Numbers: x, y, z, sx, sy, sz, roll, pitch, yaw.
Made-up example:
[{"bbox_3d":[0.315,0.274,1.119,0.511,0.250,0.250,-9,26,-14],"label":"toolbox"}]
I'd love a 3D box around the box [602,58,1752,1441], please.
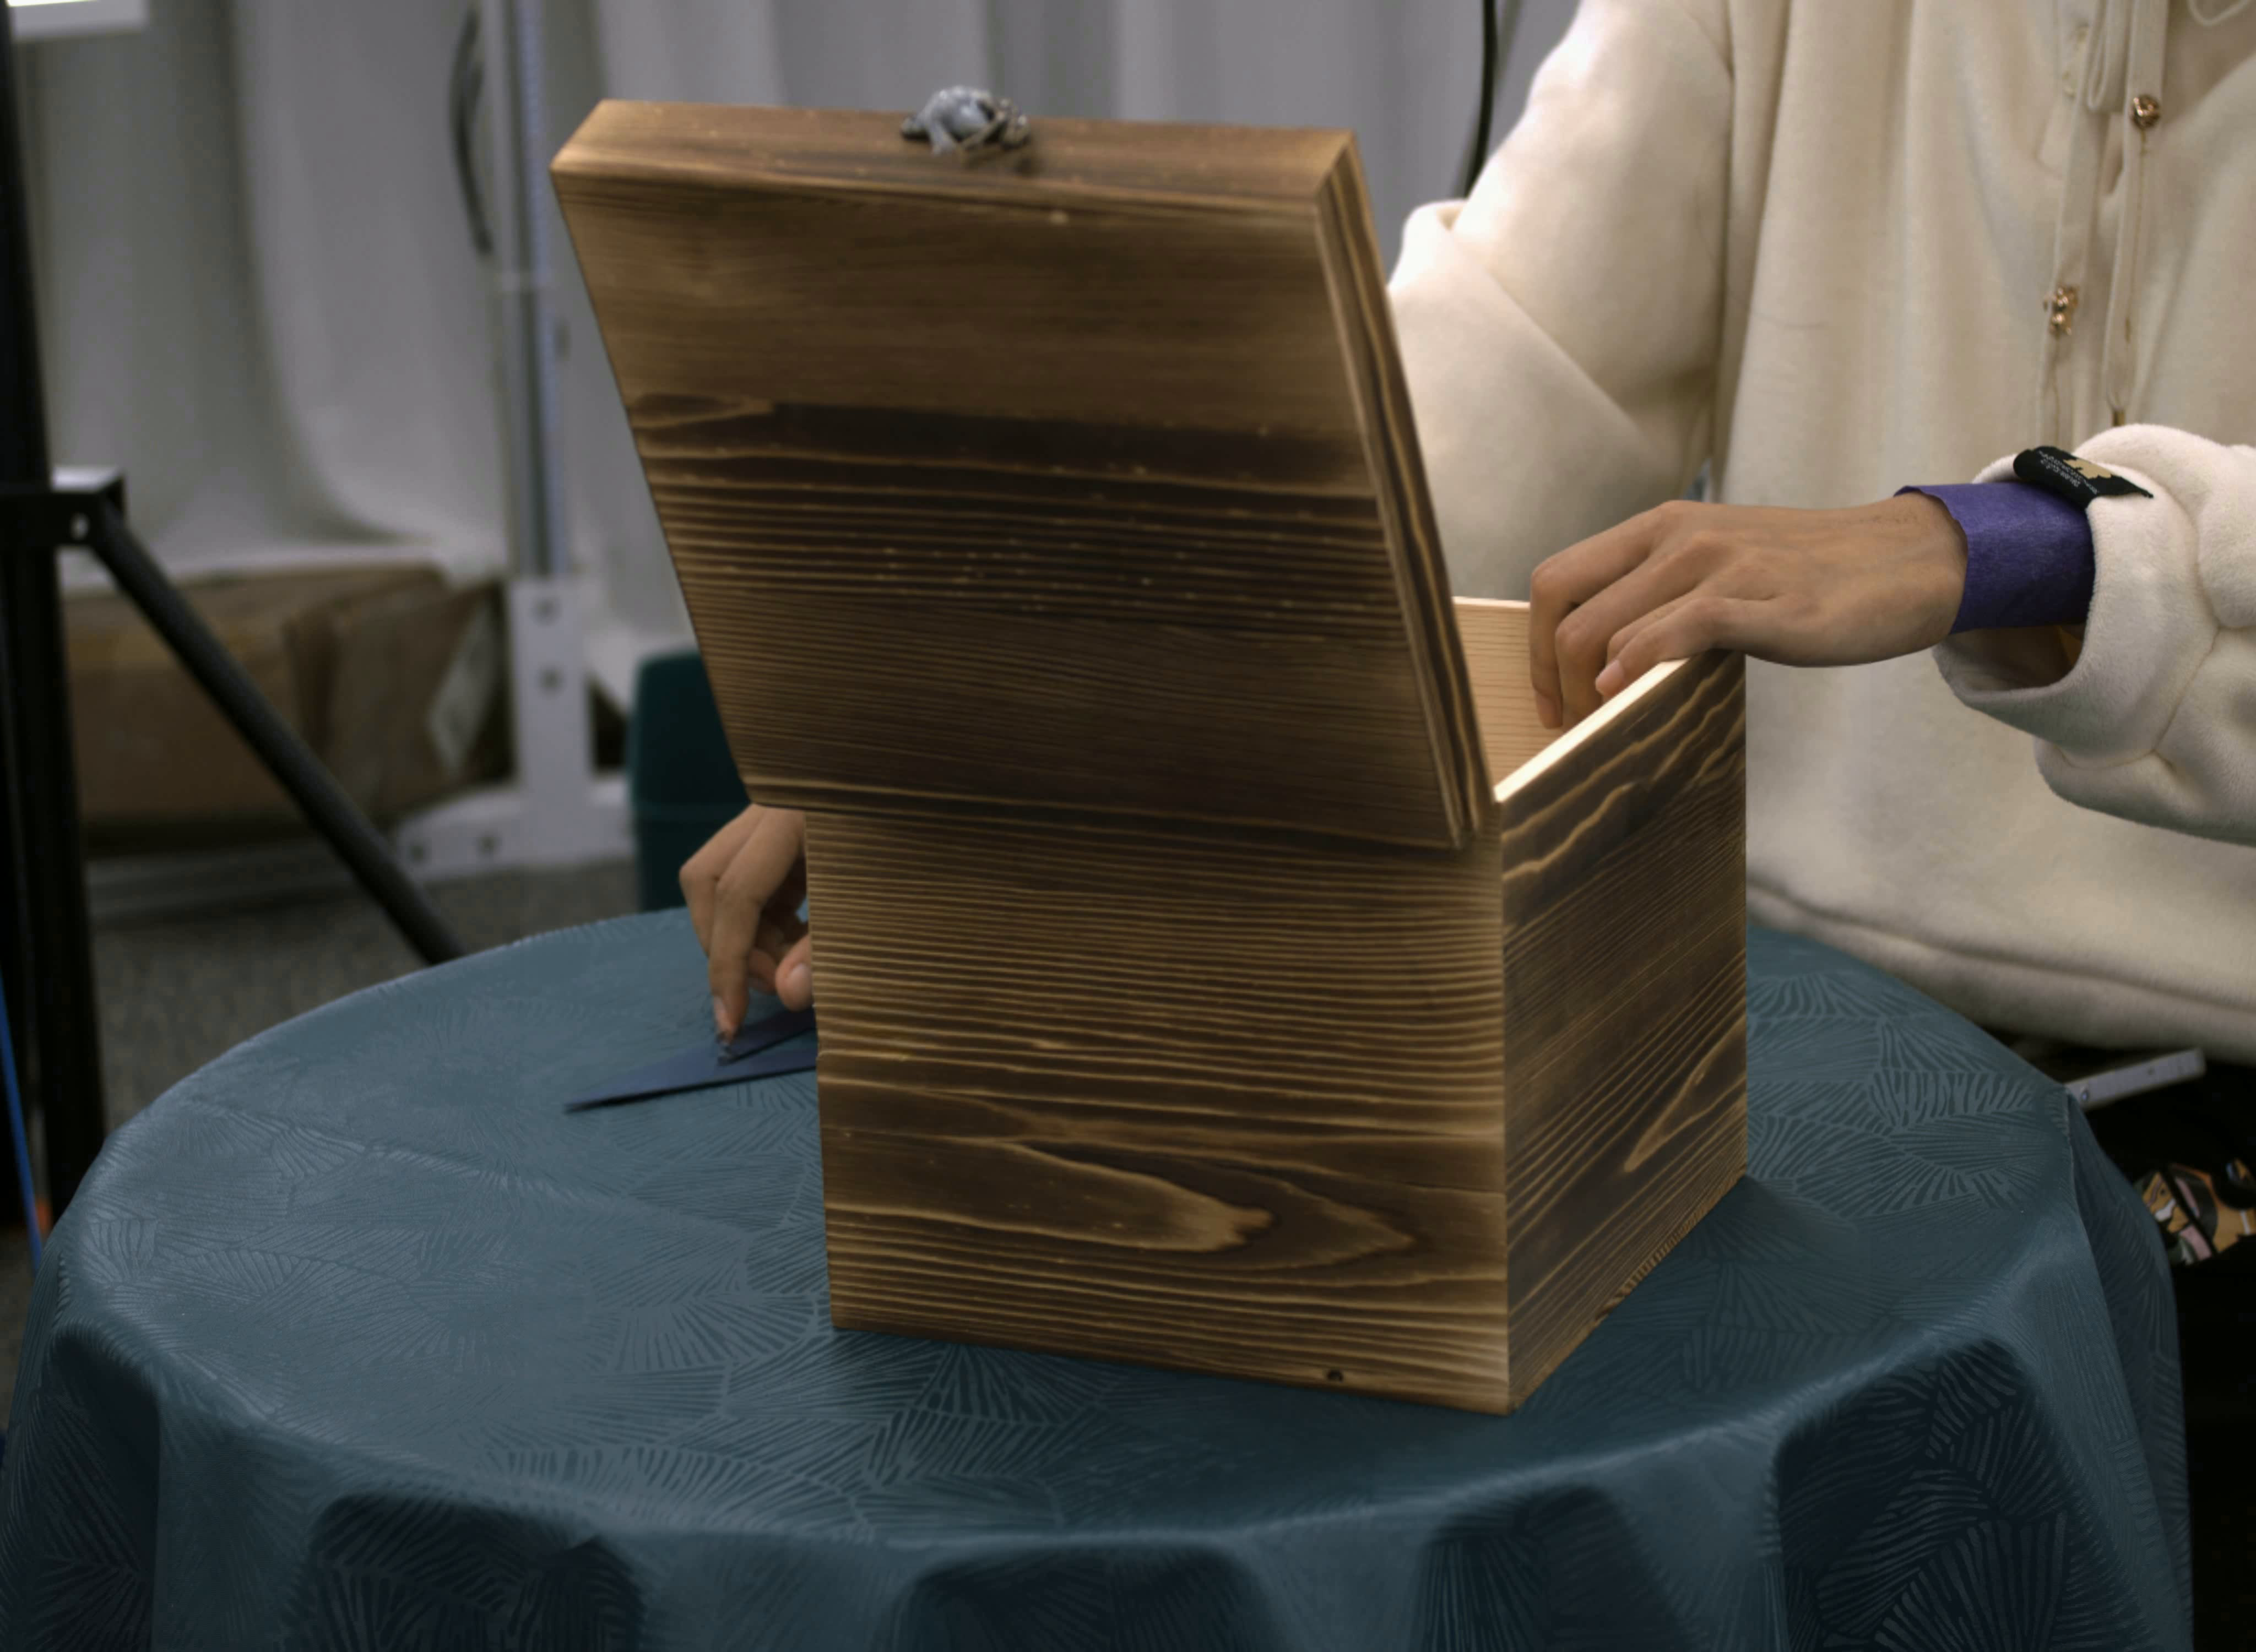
[{"bbox_3d":[0.025,-0.036,1.412,0.212,0.375,0.317,6,18,24],"label":"box"}]

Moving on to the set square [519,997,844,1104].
[{"bbox_3d":[-0.135,0.069,1.706,0.130,0.006,0.062,-8,21,-18],"label":"set square"}]
